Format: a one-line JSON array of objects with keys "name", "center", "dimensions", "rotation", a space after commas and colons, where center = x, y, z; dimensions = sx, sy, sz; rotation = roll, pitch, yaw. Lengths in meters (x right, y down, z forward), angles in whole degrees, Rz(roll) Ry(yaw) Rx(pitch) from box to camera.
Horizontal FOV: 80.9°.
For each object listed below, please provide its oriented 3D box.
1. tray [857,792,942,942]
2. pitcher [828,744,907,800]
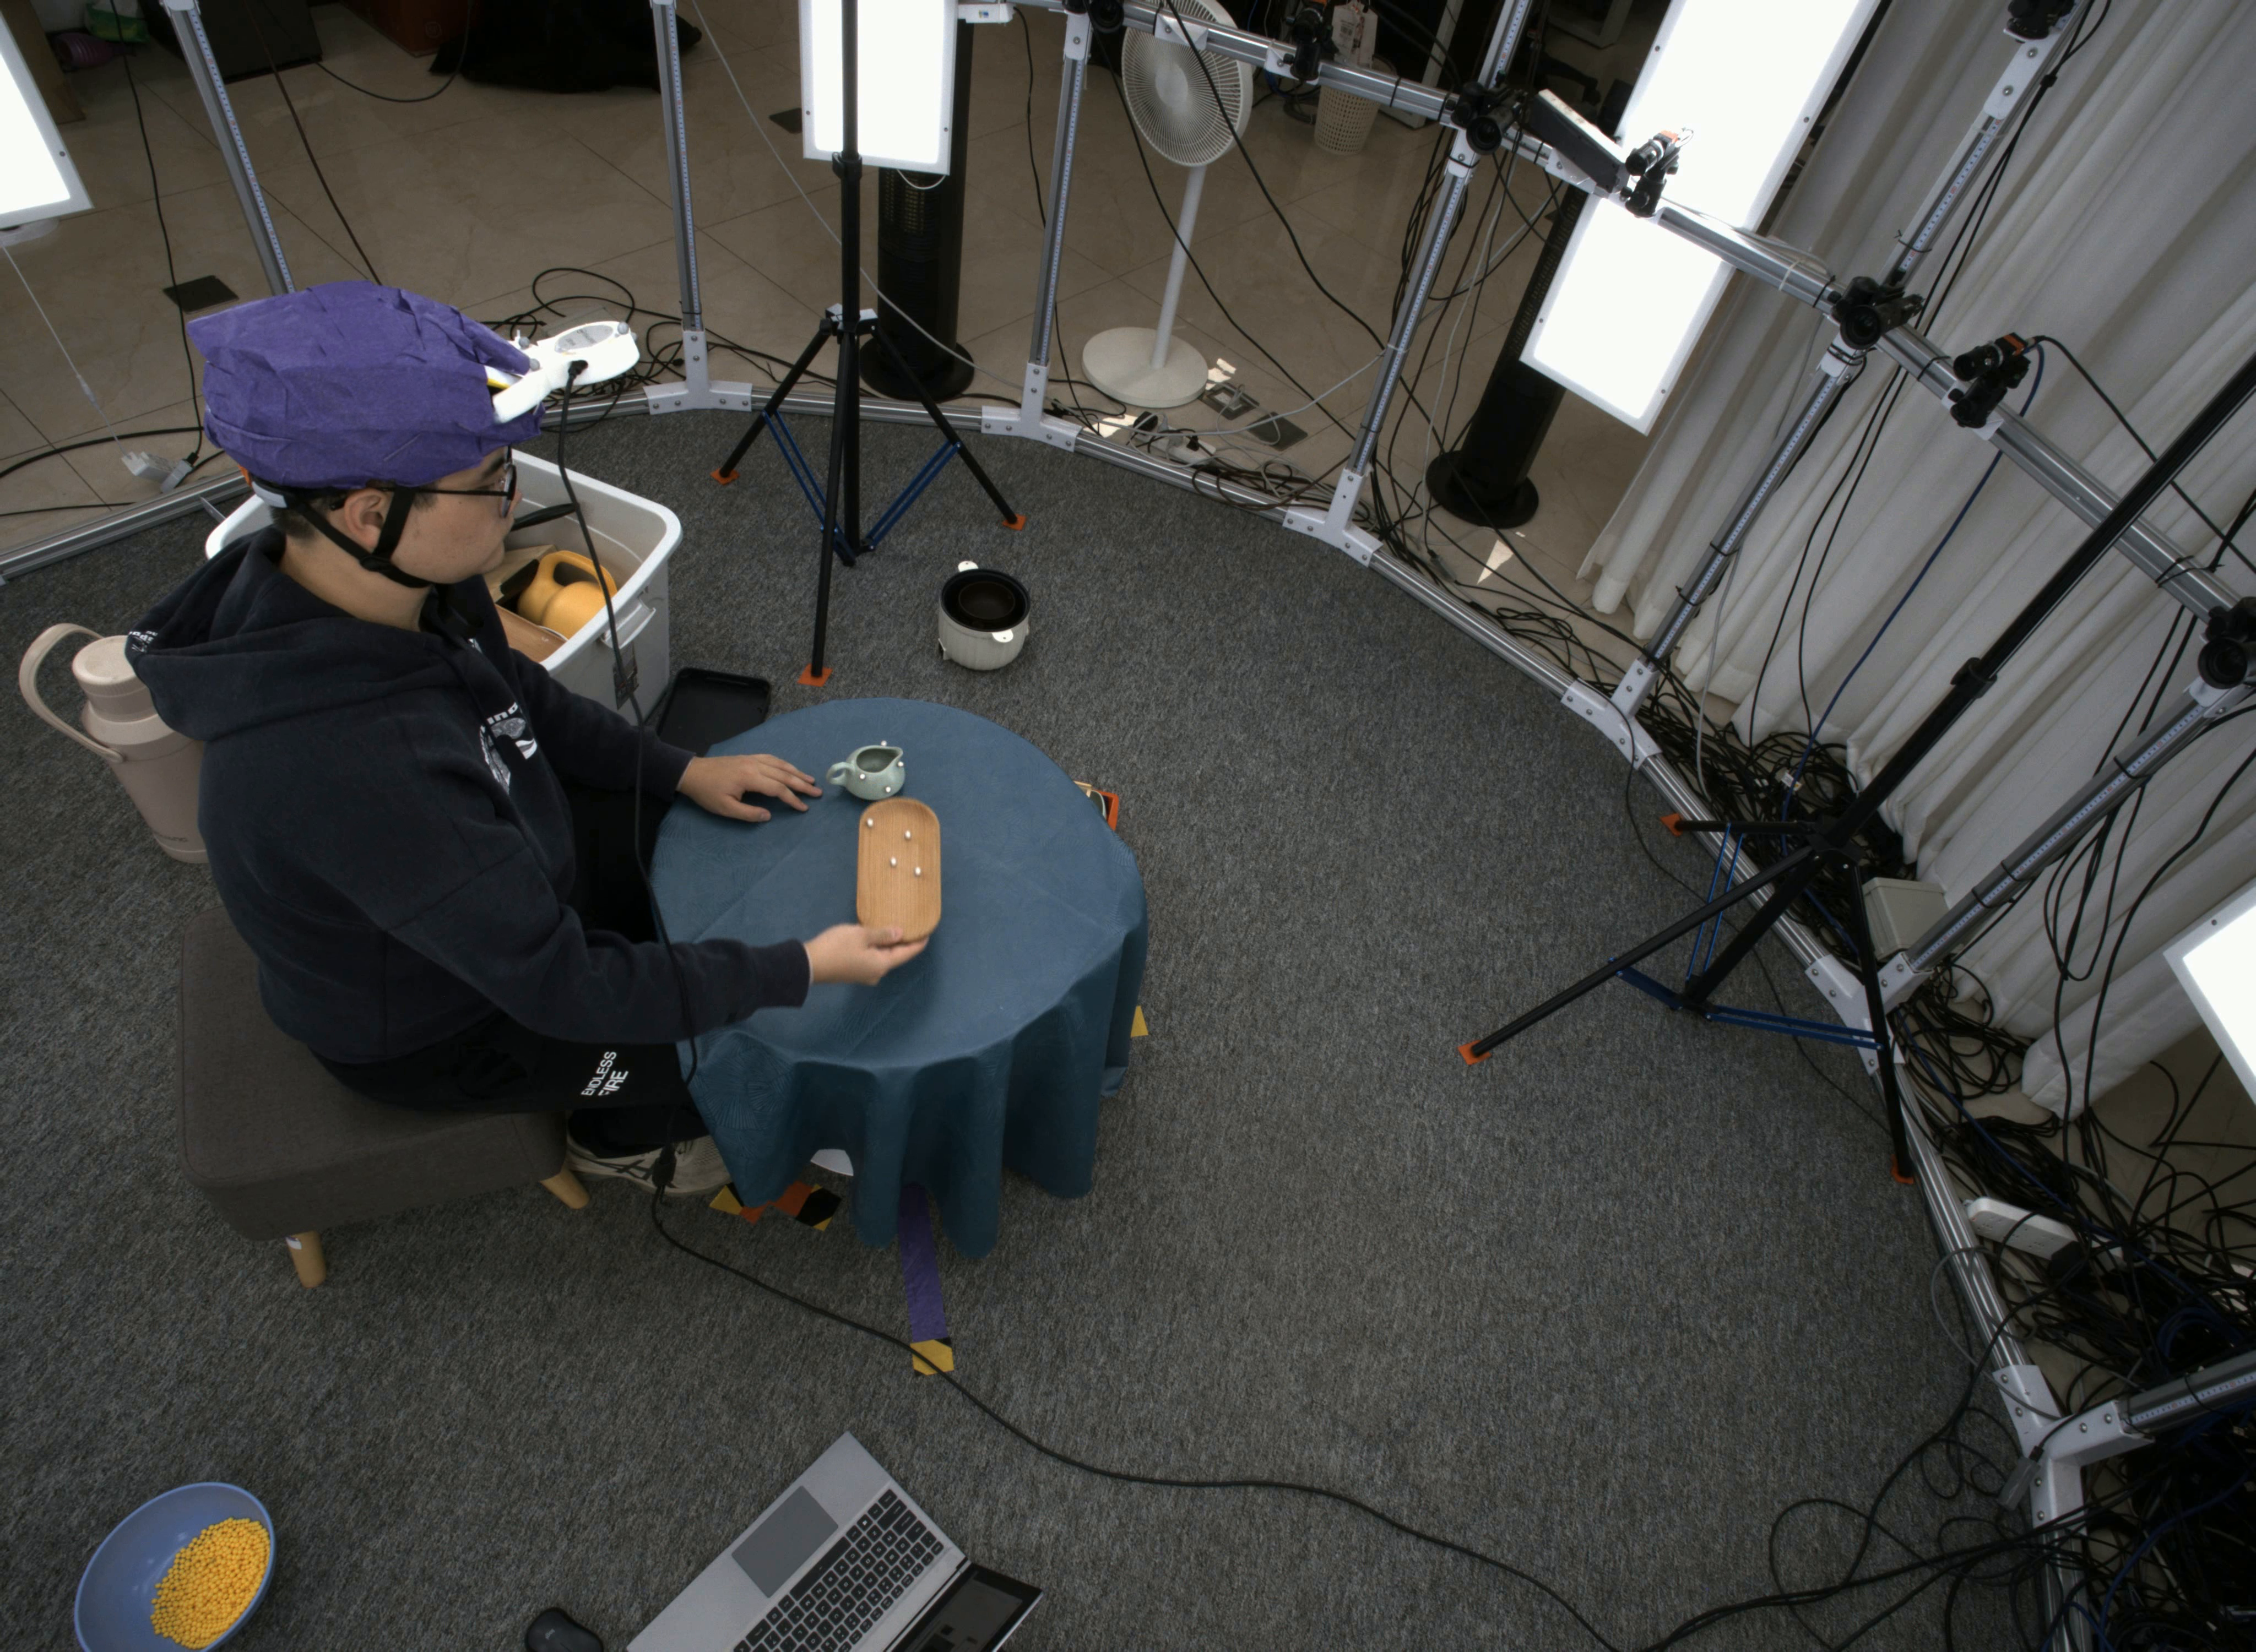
[{"name": "tray", "center": [-0.281, 0.046, 1.597], "dimensions": [0.102, 0.021, 0.226], "rotation": [1, 51, -13]}, {"name": "pitcher", "center": [-0.353, -0.073, 1.757], "dimensions": [0.108, 0.062, 0.084], "rotation": [-20, 59, -23]}]
